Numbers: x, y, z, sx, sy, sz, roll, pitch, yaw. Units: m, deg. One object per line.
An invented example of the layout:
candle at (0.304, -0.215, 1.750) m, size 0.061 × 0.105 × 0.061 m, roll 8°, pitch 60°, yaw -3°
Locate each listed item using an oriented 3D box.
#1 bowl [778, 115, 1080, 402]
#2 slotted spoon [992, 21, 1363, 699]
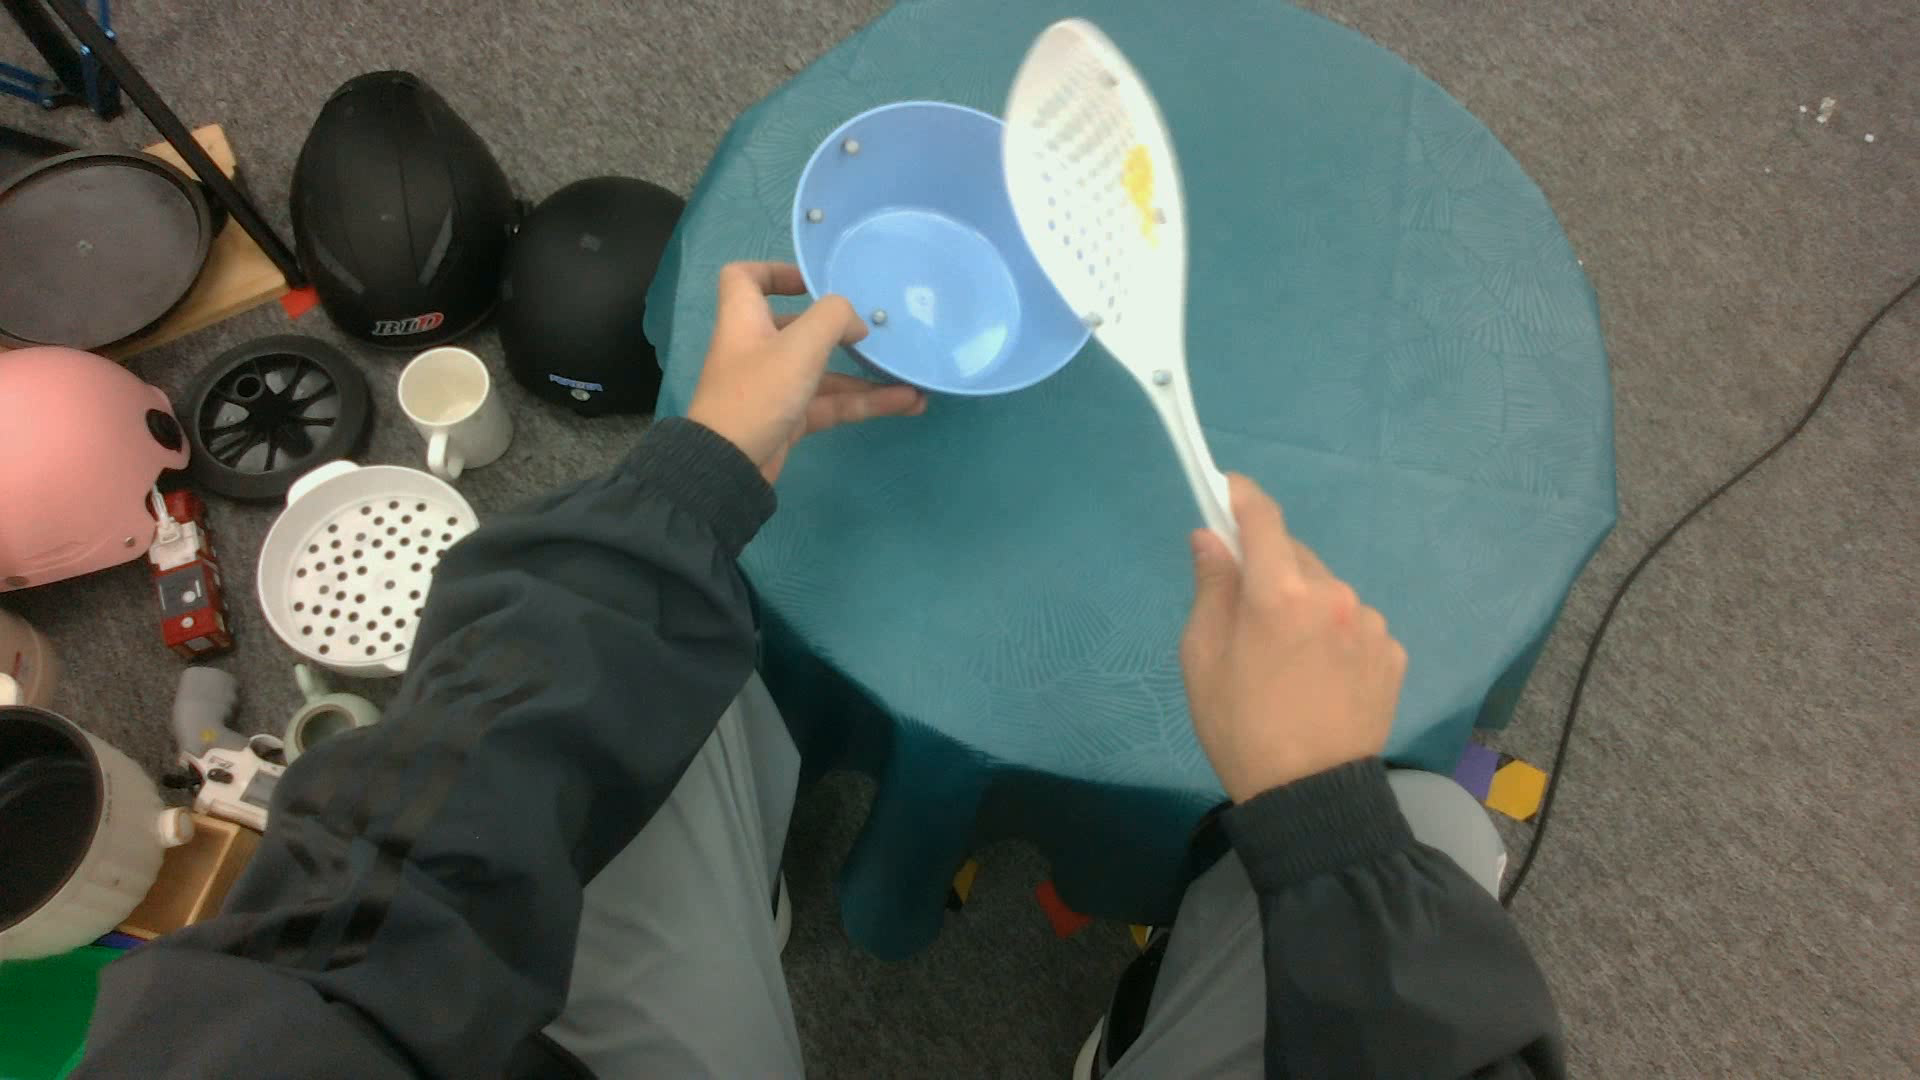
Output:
bowl at (-0.020, -0.146, 0.777) m, size 0.176 × 0.070 × 0.176 m, roll 6°, pitch 69°, yaw -16°
slotted spoon at (0.106, -0.083, 0.663) m, size 0.050 × 0.136 × 0.348 m, roll -12°, pitch 78°, yaw -28°
